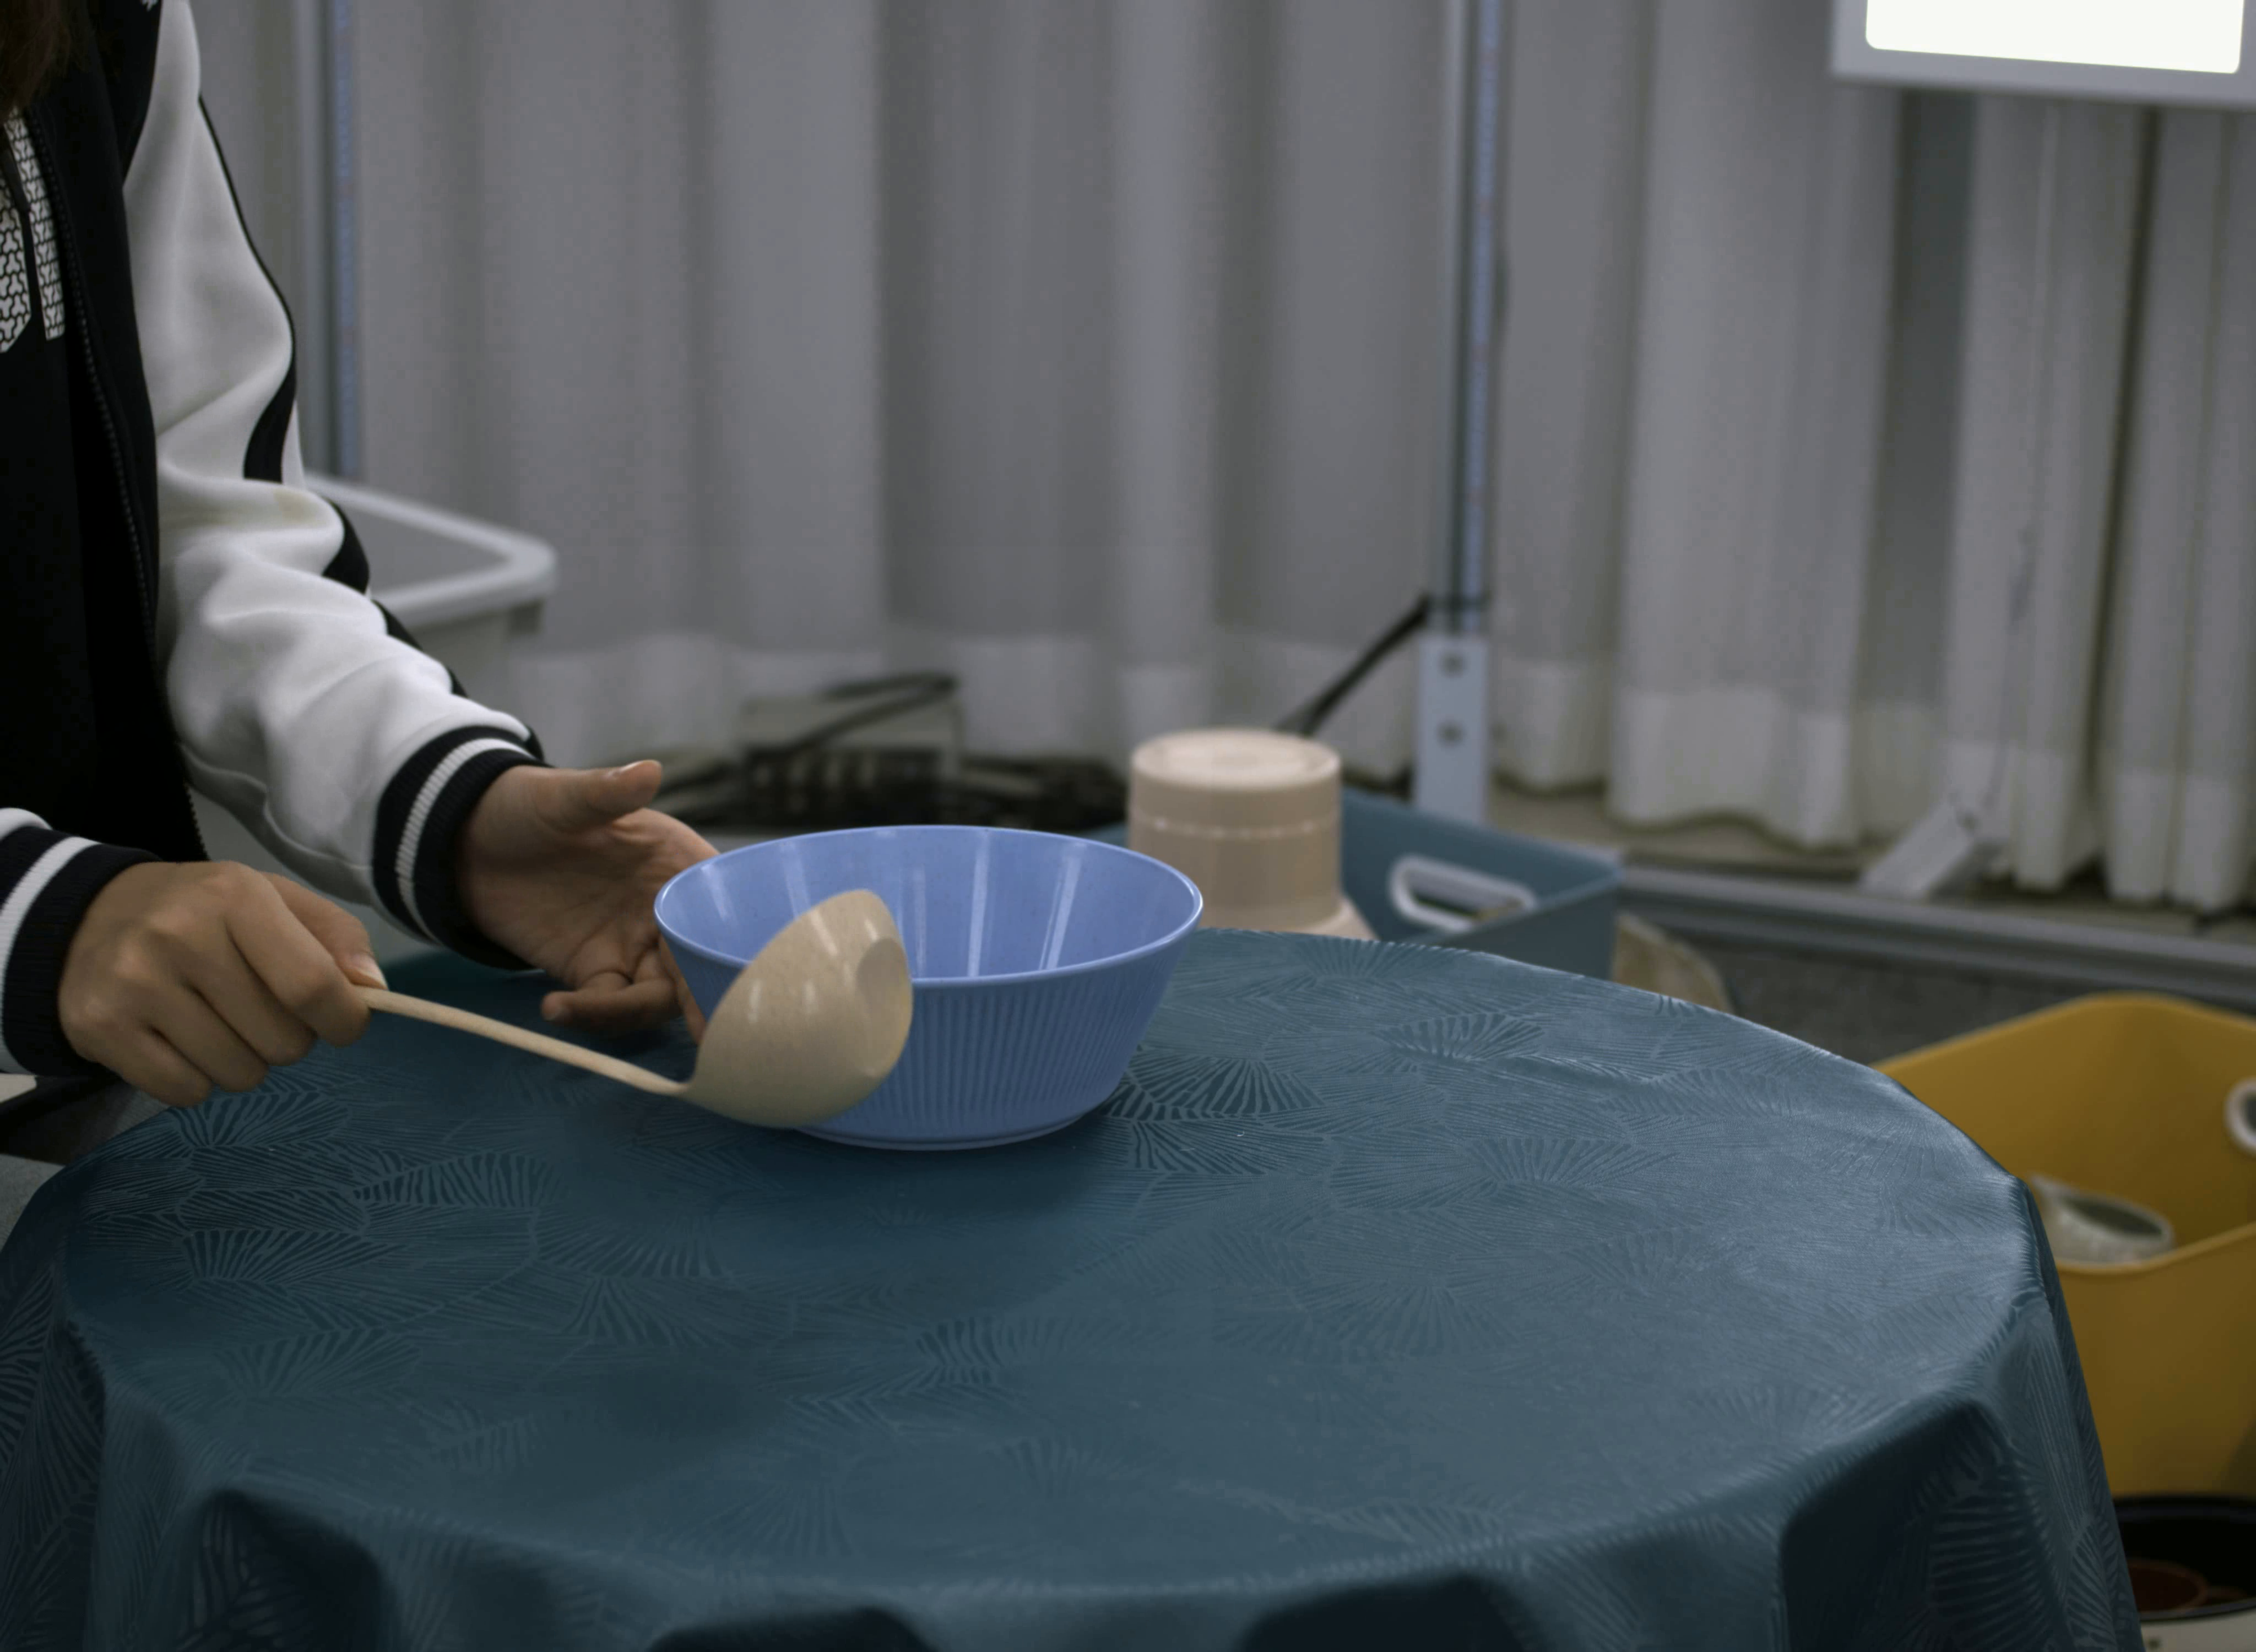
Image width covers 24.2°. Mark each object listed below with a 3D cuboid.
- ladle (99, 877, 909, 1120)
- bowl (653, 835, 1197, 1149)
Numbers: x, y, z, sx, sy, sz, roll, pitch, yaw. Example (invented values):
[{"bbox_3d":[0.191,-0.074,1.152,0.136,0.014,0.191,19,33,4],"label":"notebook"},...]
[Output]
[{"bbox_3d":[-0.183,0.031,1.523,0.252,0.073,0.073,11,-6,23],"label":"ladle"},{"bbox_3d":[-0.065,0.055,1.694,0.175,0.071,0.175,1,15,0],"label":"bowl"}]
